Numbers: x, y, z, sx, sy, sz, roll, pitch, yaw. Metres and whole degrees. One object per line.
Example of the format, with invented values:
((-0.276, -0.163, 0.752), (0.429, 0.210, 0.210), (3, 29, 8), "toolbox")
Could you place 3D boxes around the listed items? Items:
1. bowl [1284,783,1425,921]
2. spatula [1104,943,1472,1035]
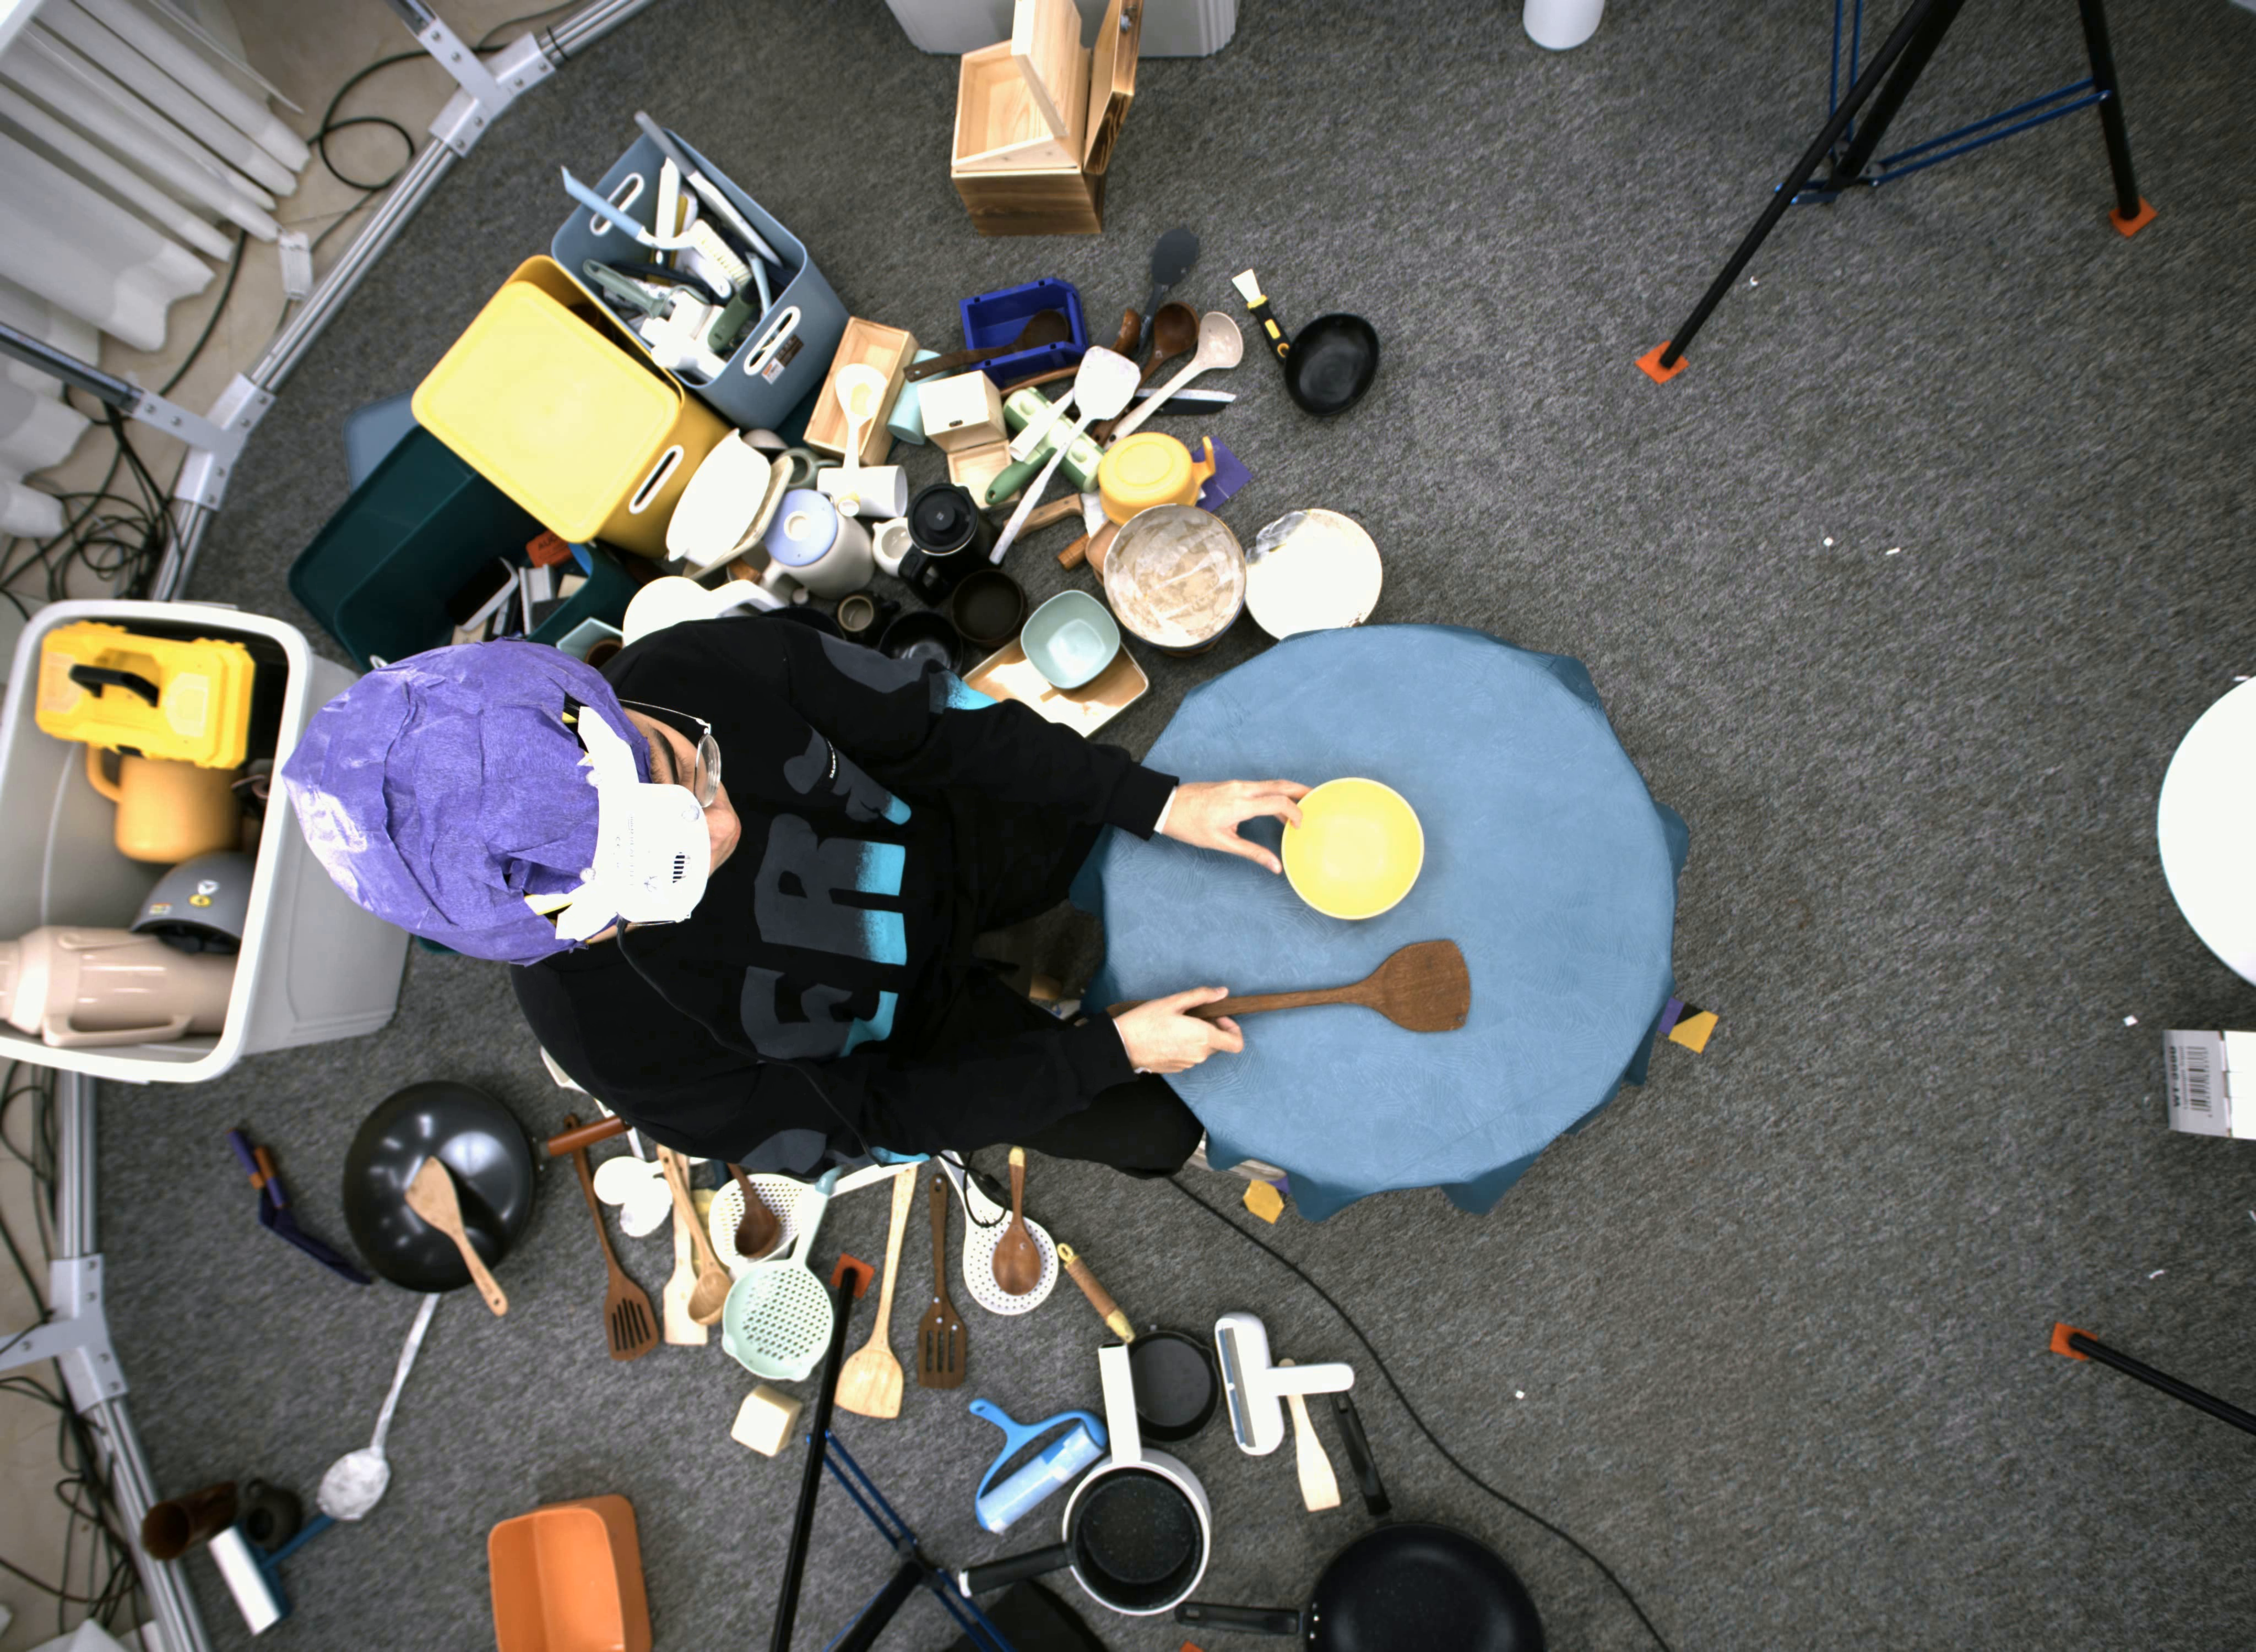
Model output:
((0.238, 0.029, 1.445), (0.146, 0.060, 0.144), (-2, 84, 12), "bowl")
((0.167, 0.186, 1.454), (0.387, 0.016, 0.095), (-6, 85, 3), "spatula")
